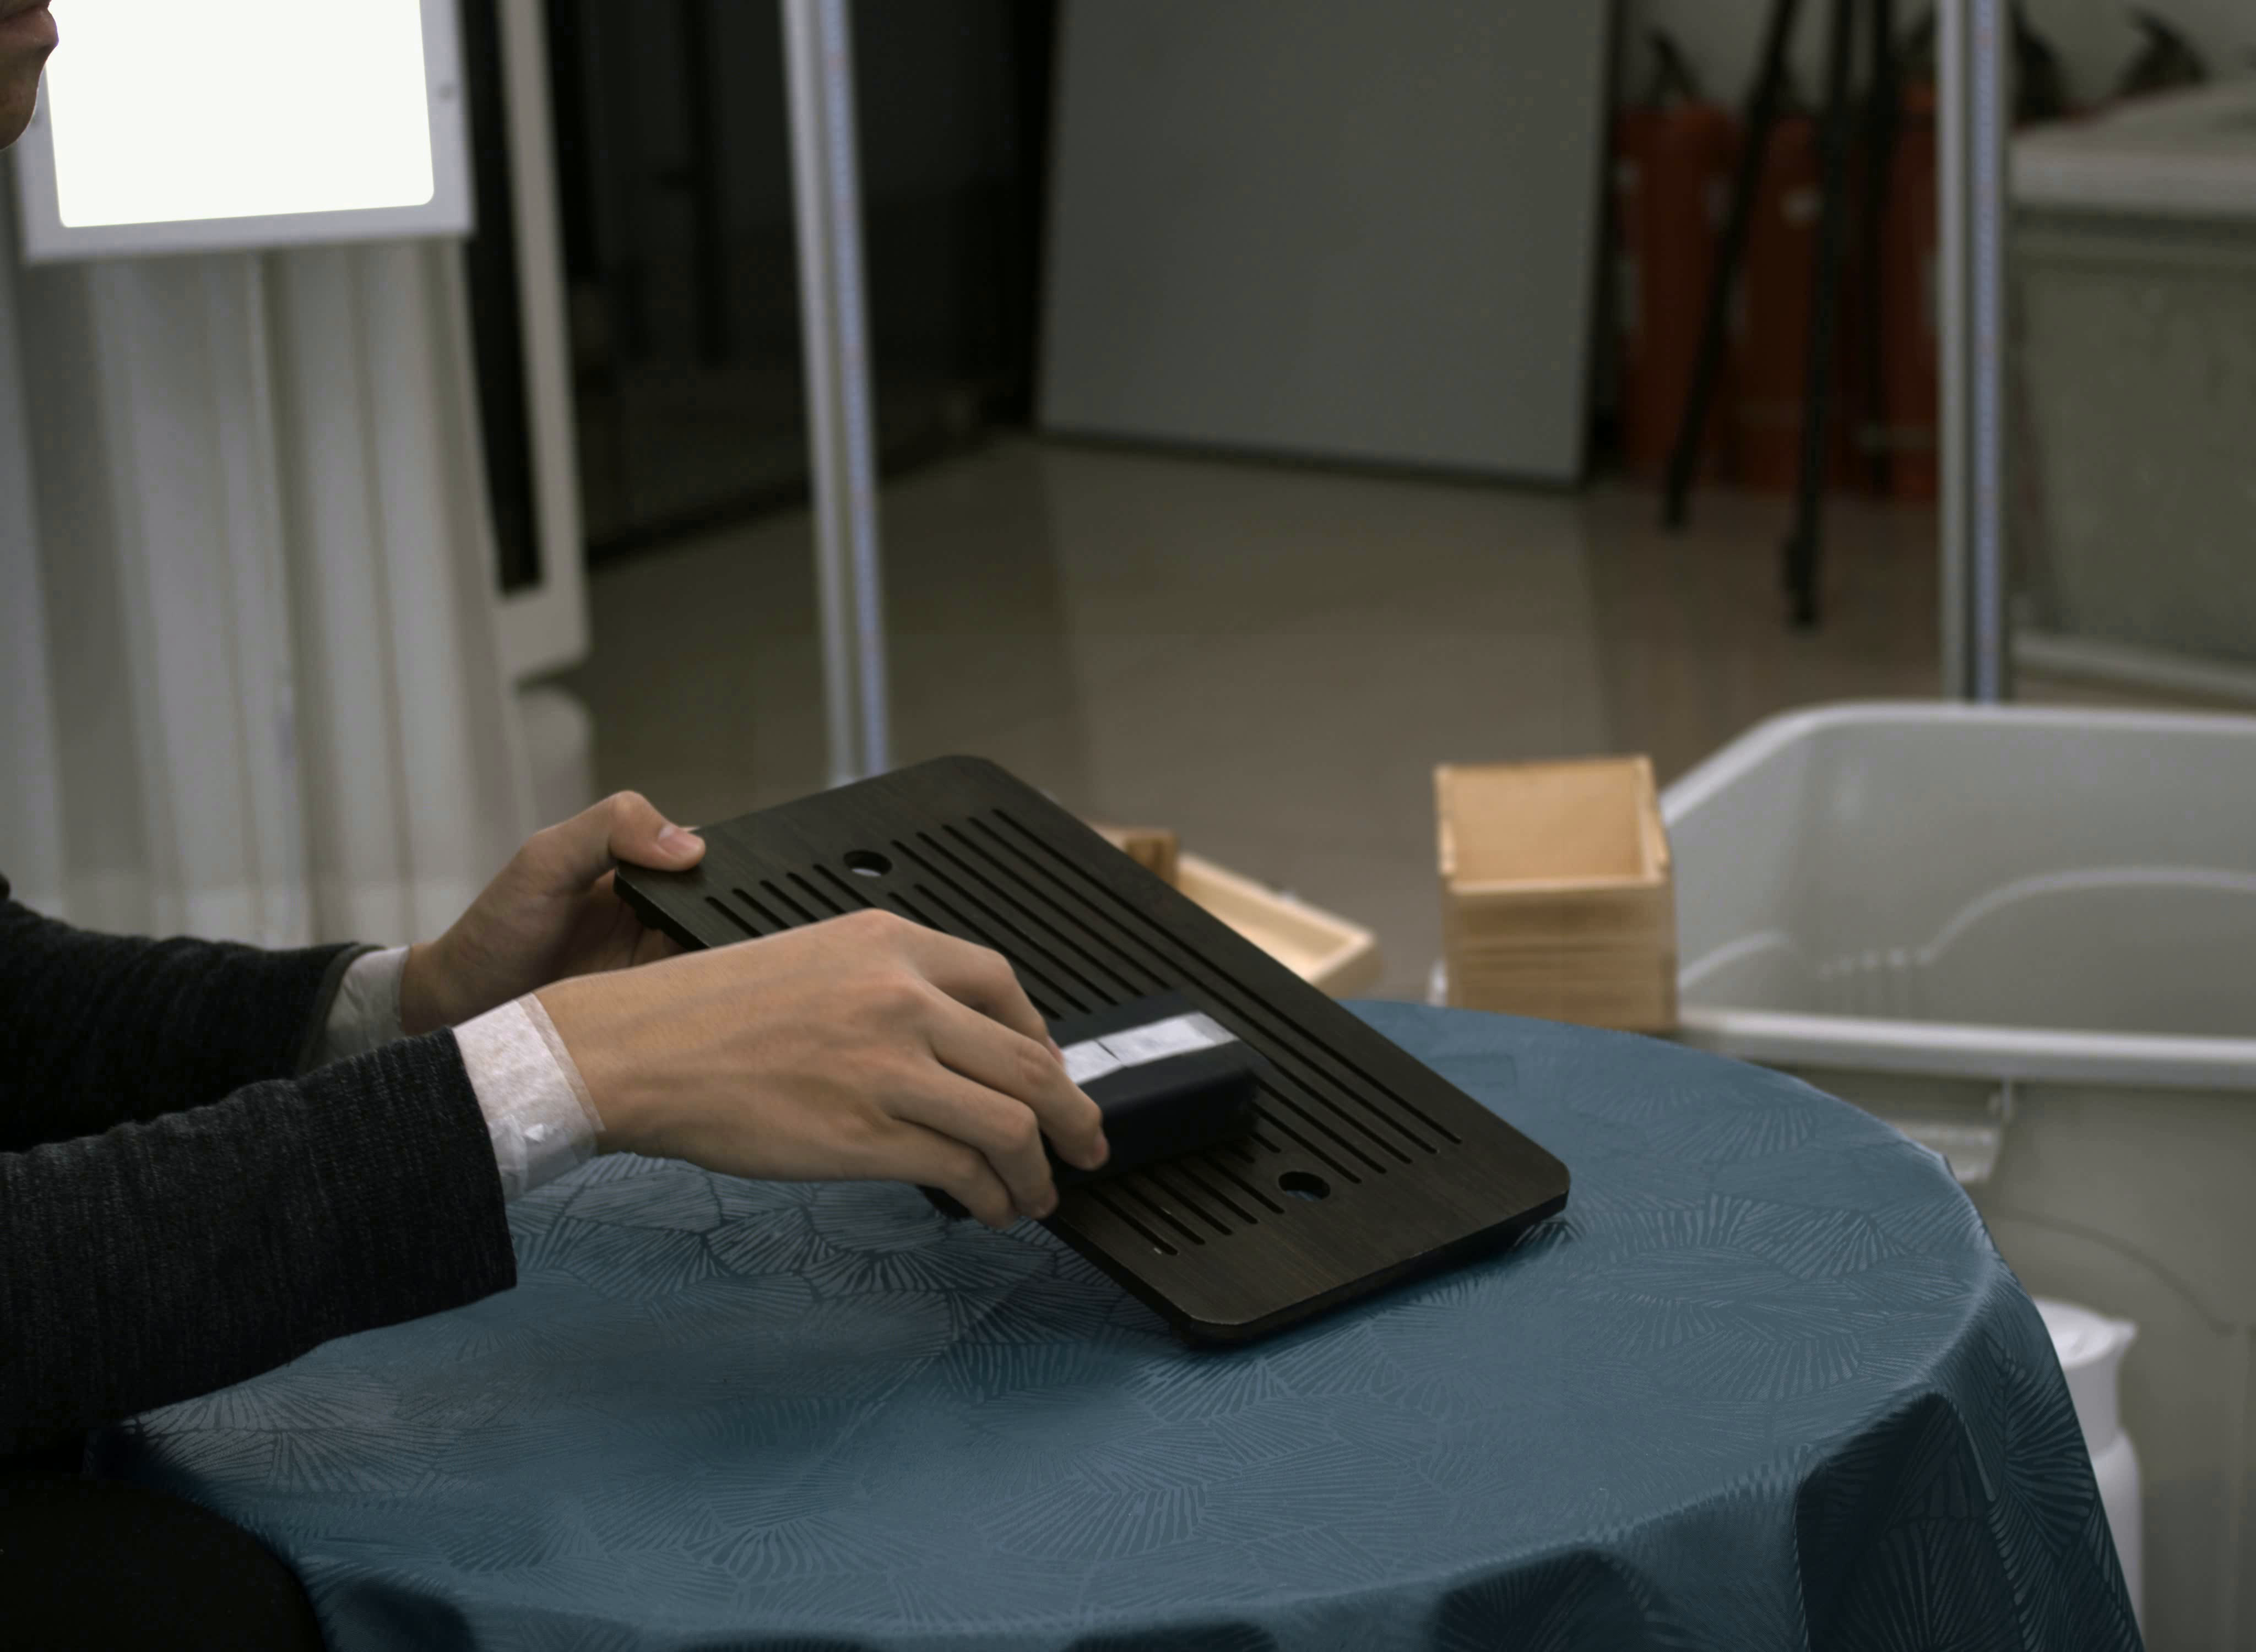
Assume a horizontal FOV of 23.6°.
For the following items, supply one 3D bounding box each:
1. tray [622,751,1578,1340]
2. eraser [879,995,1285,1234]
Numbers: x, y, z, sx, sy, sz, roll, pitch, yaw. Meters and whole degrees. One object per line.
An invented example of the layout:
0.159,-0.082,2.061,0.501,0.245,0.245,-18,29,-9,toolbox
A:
-0.013,0.067,1.750,0.166,0.019,0.309,-17,39,-39,tray
-0.014,0.088,1.672,0.123,0.031,0.054,-16,36,-35,eraser
